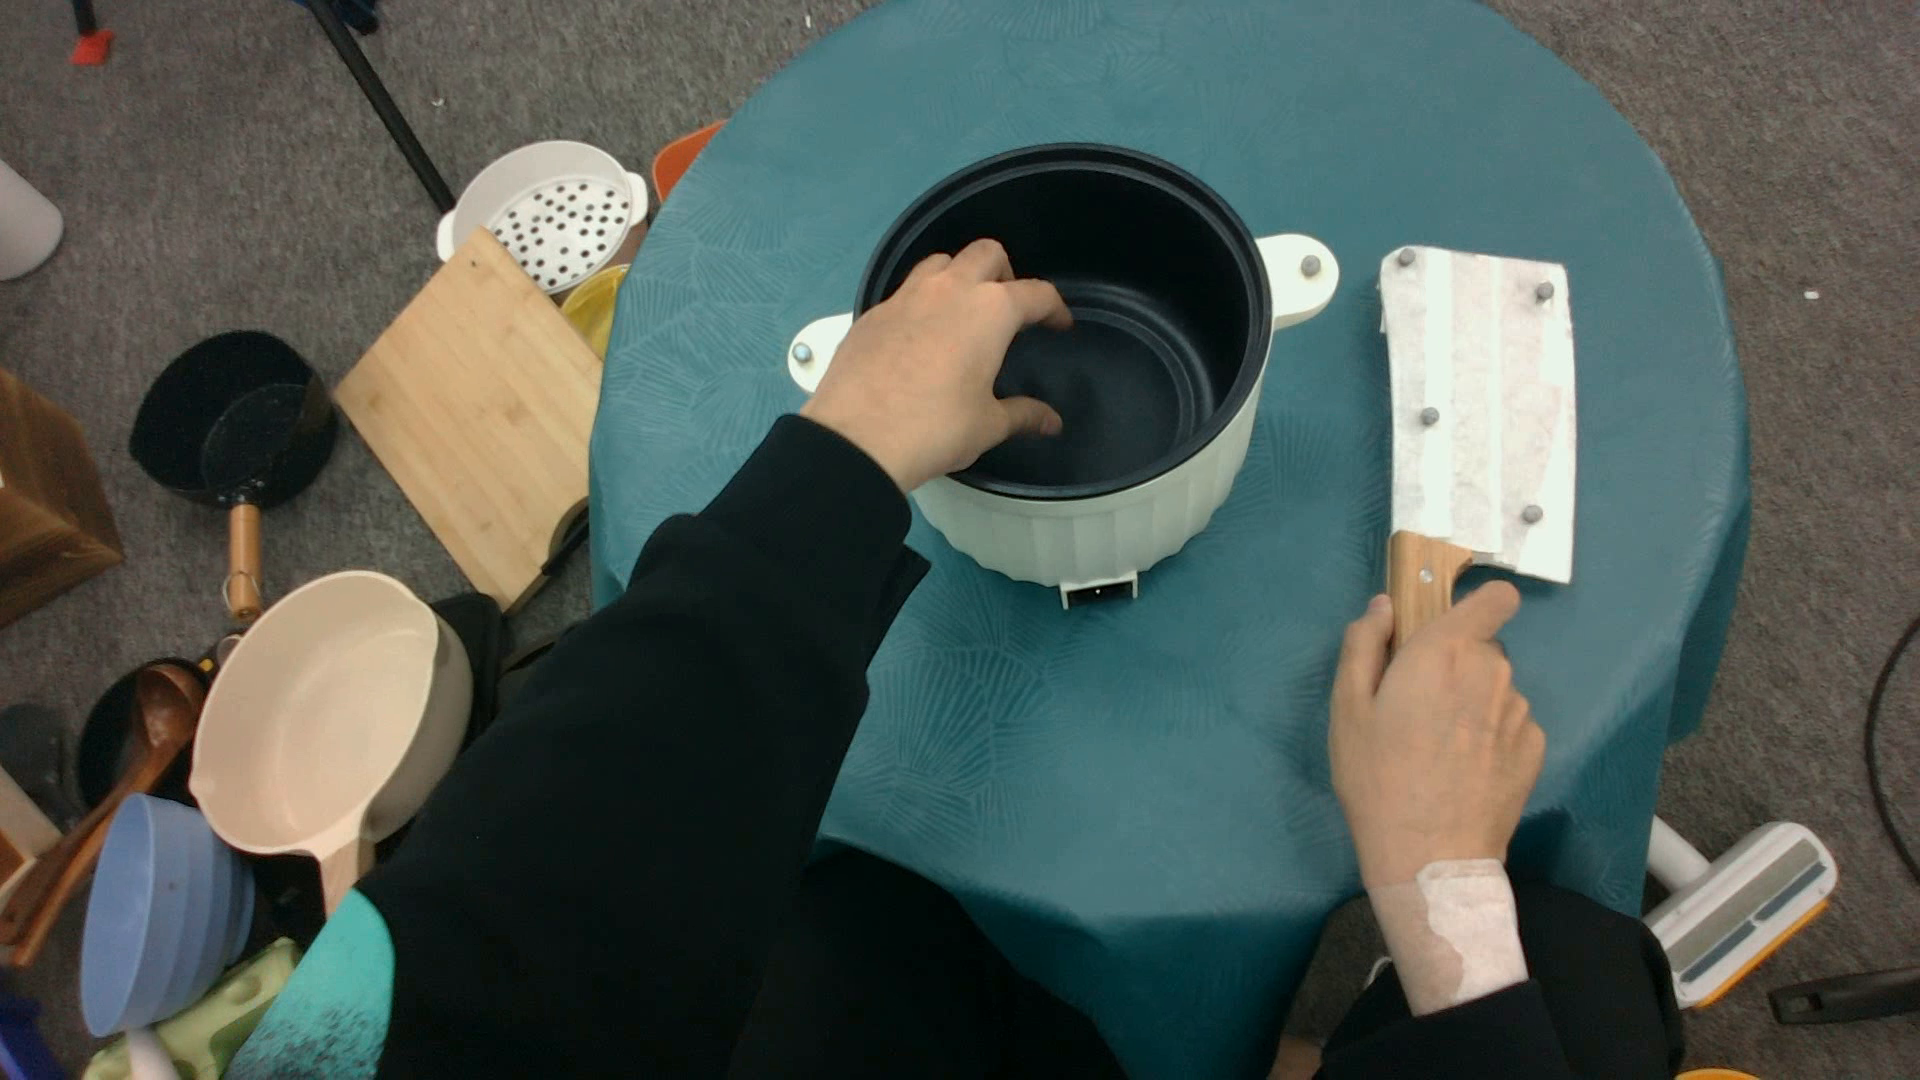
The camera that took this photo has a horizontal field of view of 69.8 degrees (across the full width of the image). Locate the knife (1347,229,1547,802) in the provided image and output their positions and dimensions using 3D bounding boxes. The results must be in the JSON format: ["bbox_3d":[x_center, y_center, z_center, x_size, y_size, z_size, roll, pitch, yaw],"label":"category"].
[{"bbox_3d":[0.228,-0.027,0.659,0.114,0.021,0.316,16,64,-4],"label":"knife"}]

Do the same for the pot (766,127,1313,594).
[{"bbox_3d":[0.038,-0.084,0.654,0.240,0.142,0.191,-10,68,1],"label":"pot"}]
